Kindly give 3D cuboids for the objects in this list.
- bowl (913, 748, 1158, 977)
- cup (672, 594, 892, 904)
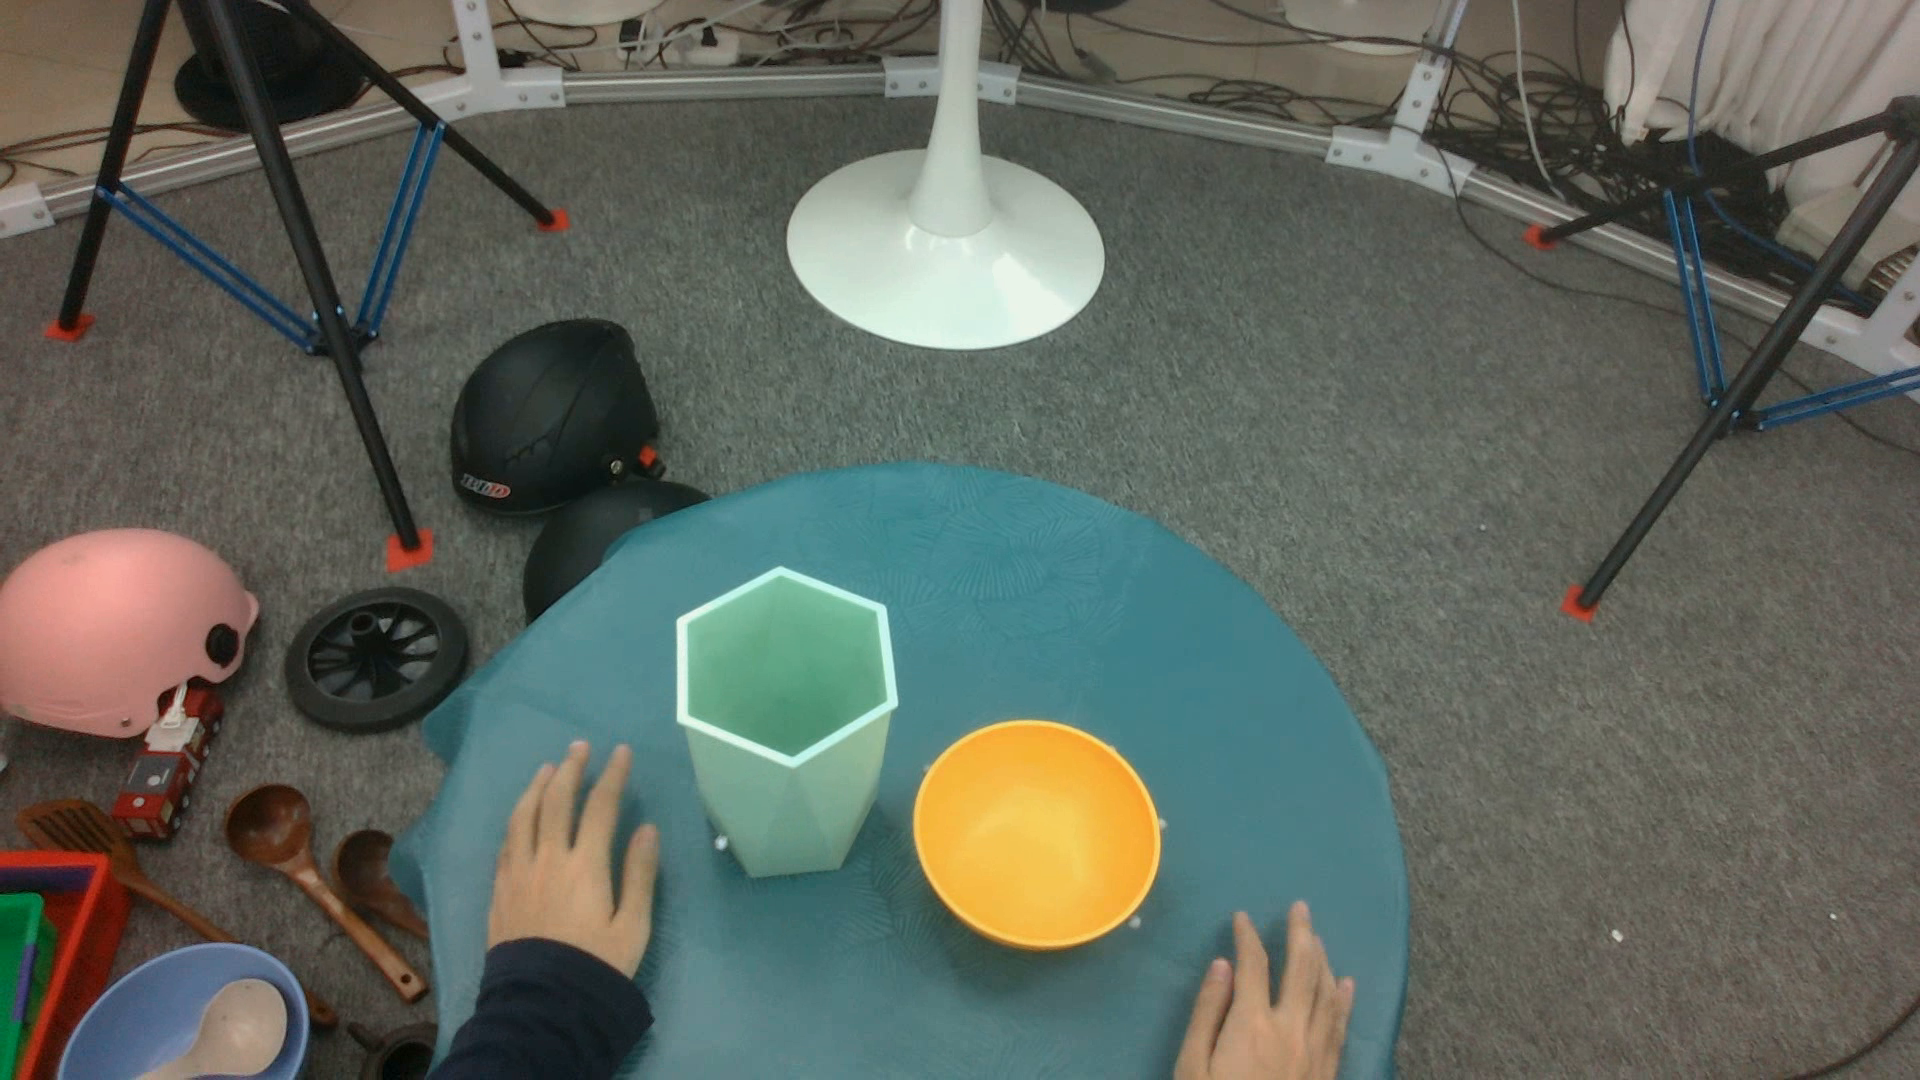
[{"bbox_3d":[0.043,0.202,0.829,0.145,0.060,0.146,2,50,-2],"label":"bowl"},{"bbox_3d":[-0.101,0.131,0.806,0.131,0.162,0.116,17,51,11],"label":"cup"}]
